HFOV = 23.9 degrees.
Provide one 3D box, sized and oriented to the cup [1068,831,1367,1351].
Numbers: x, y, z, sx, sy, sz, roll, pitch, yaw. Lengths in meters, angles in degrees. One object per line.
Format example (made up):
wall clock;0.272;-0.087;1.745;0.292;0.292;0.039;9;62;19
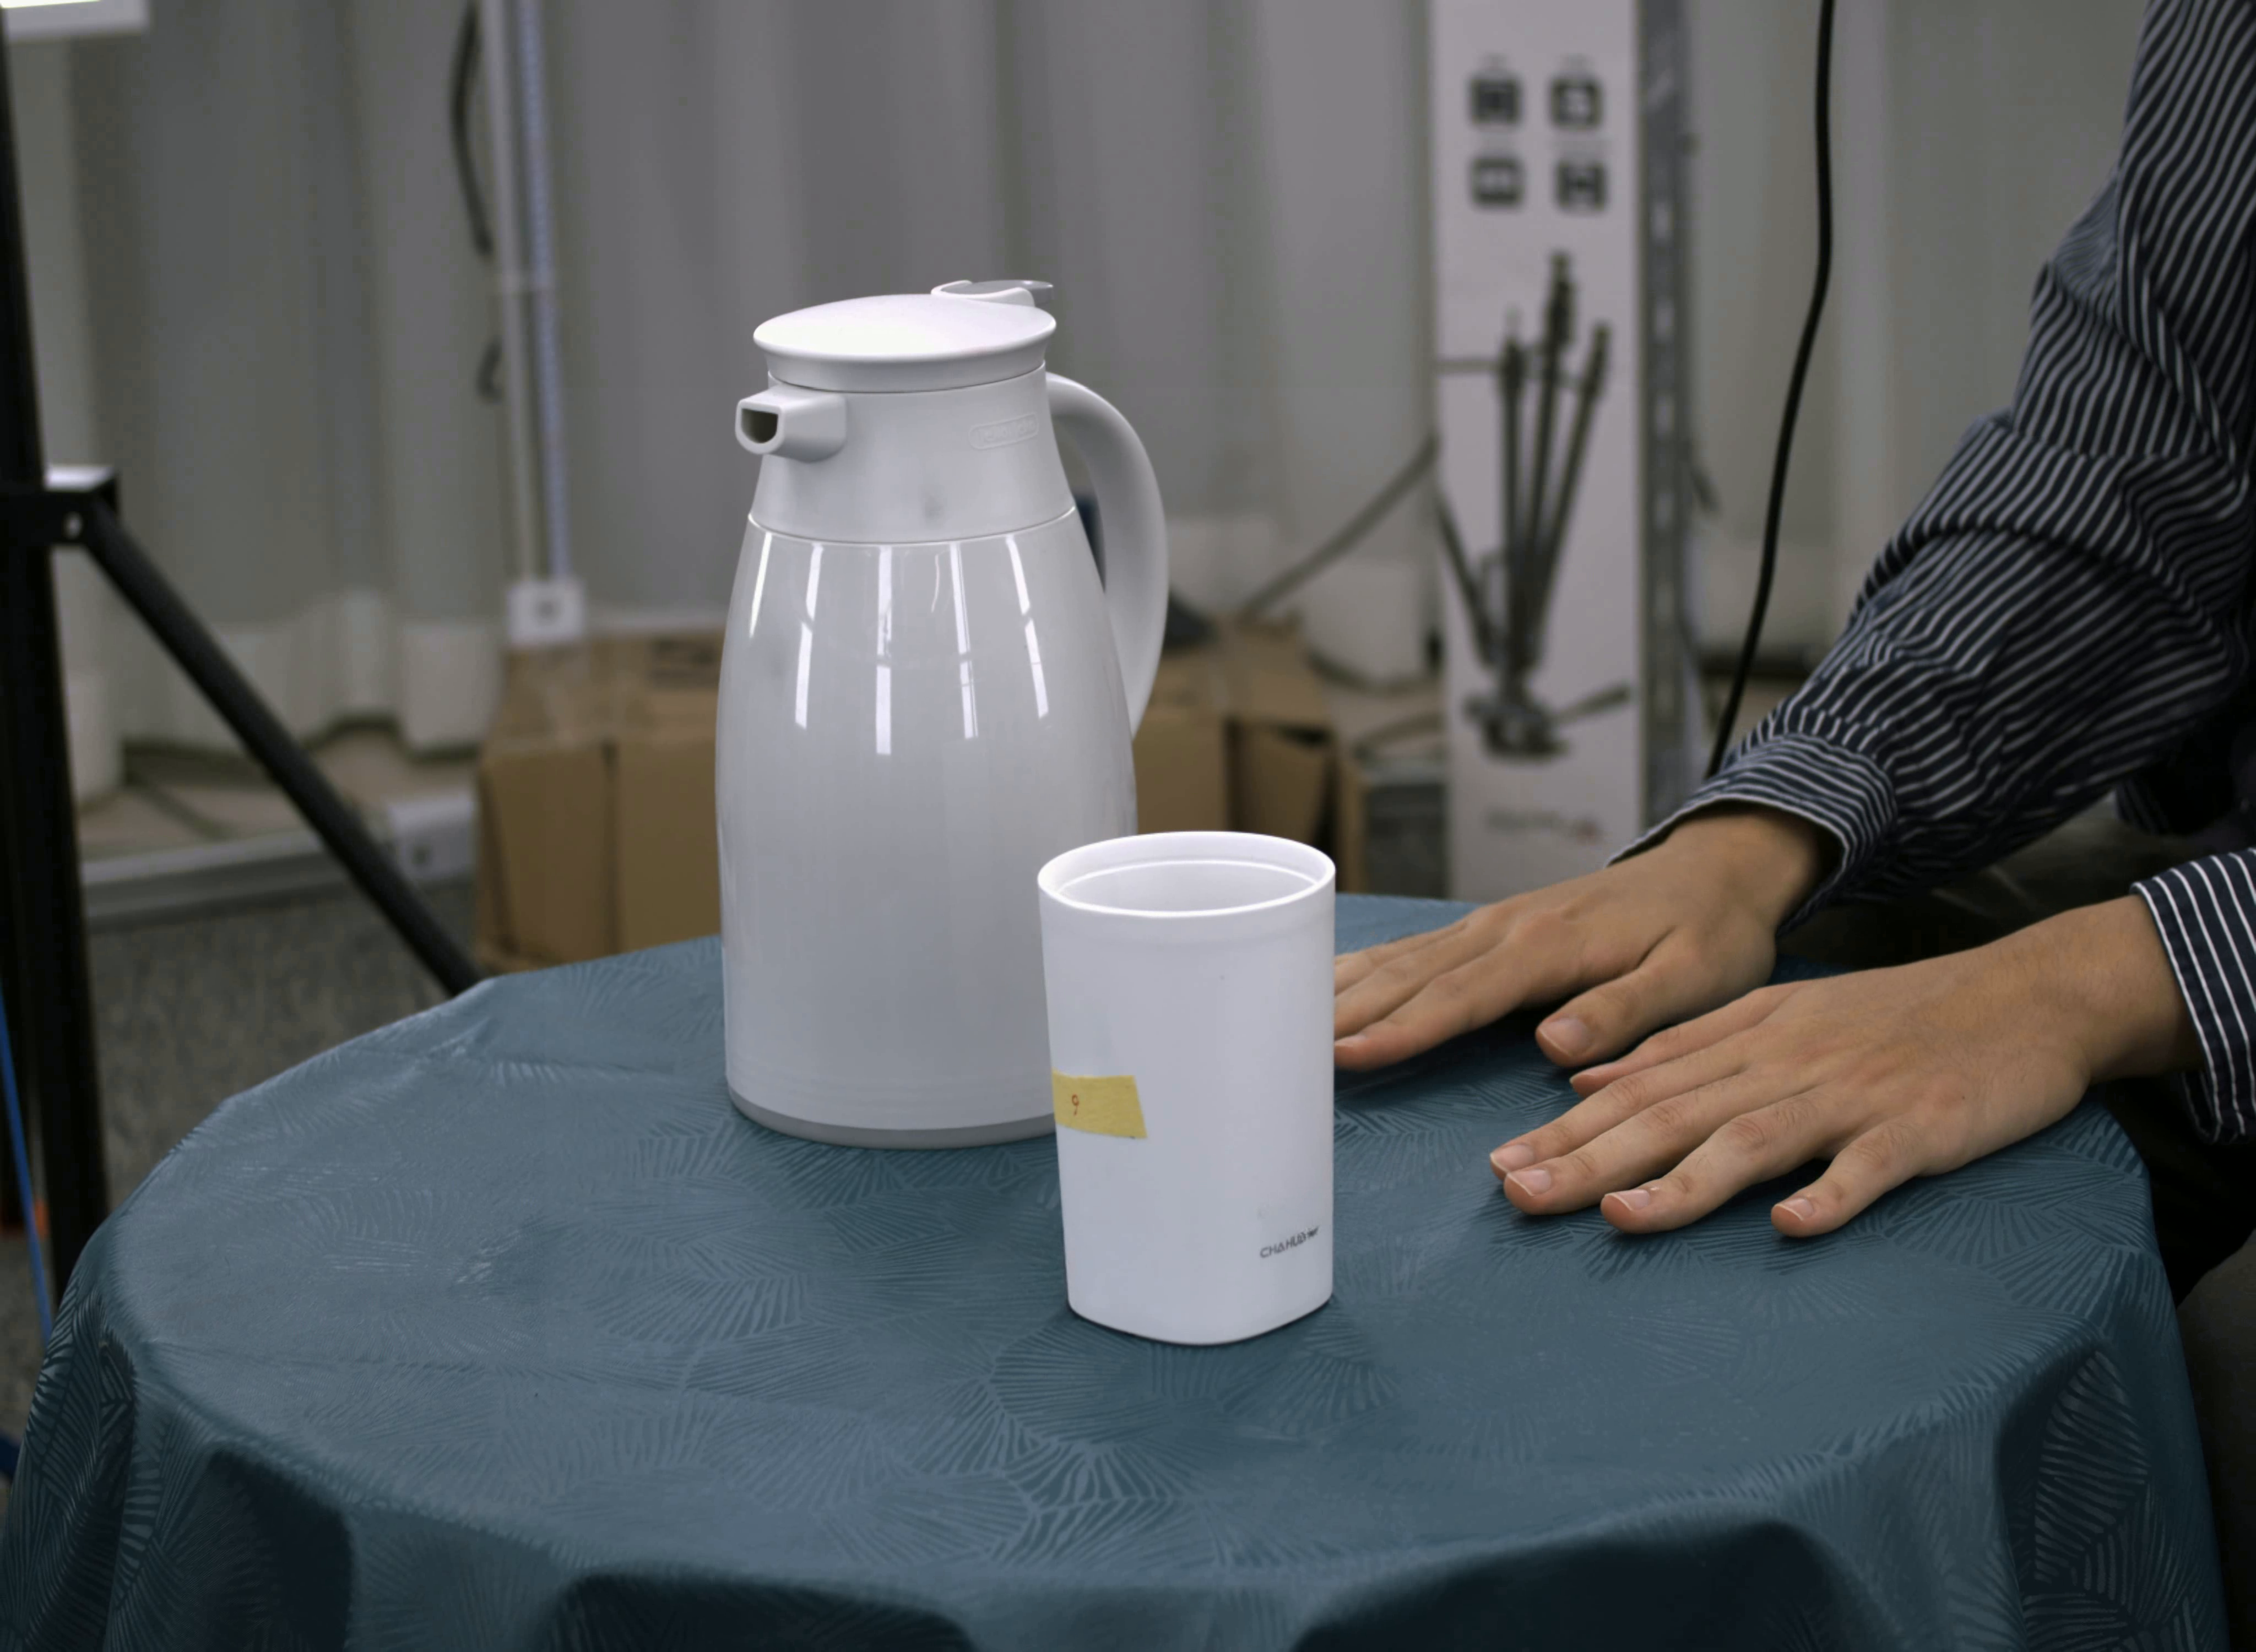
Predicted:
cup;0.026;0.073;1.447;0.081;0.125;0.082;-2;15;-1

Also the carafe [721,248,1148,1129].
carafe;-0.053;-0.051;1.656;0.135;0.248;0.164;7;20;37
